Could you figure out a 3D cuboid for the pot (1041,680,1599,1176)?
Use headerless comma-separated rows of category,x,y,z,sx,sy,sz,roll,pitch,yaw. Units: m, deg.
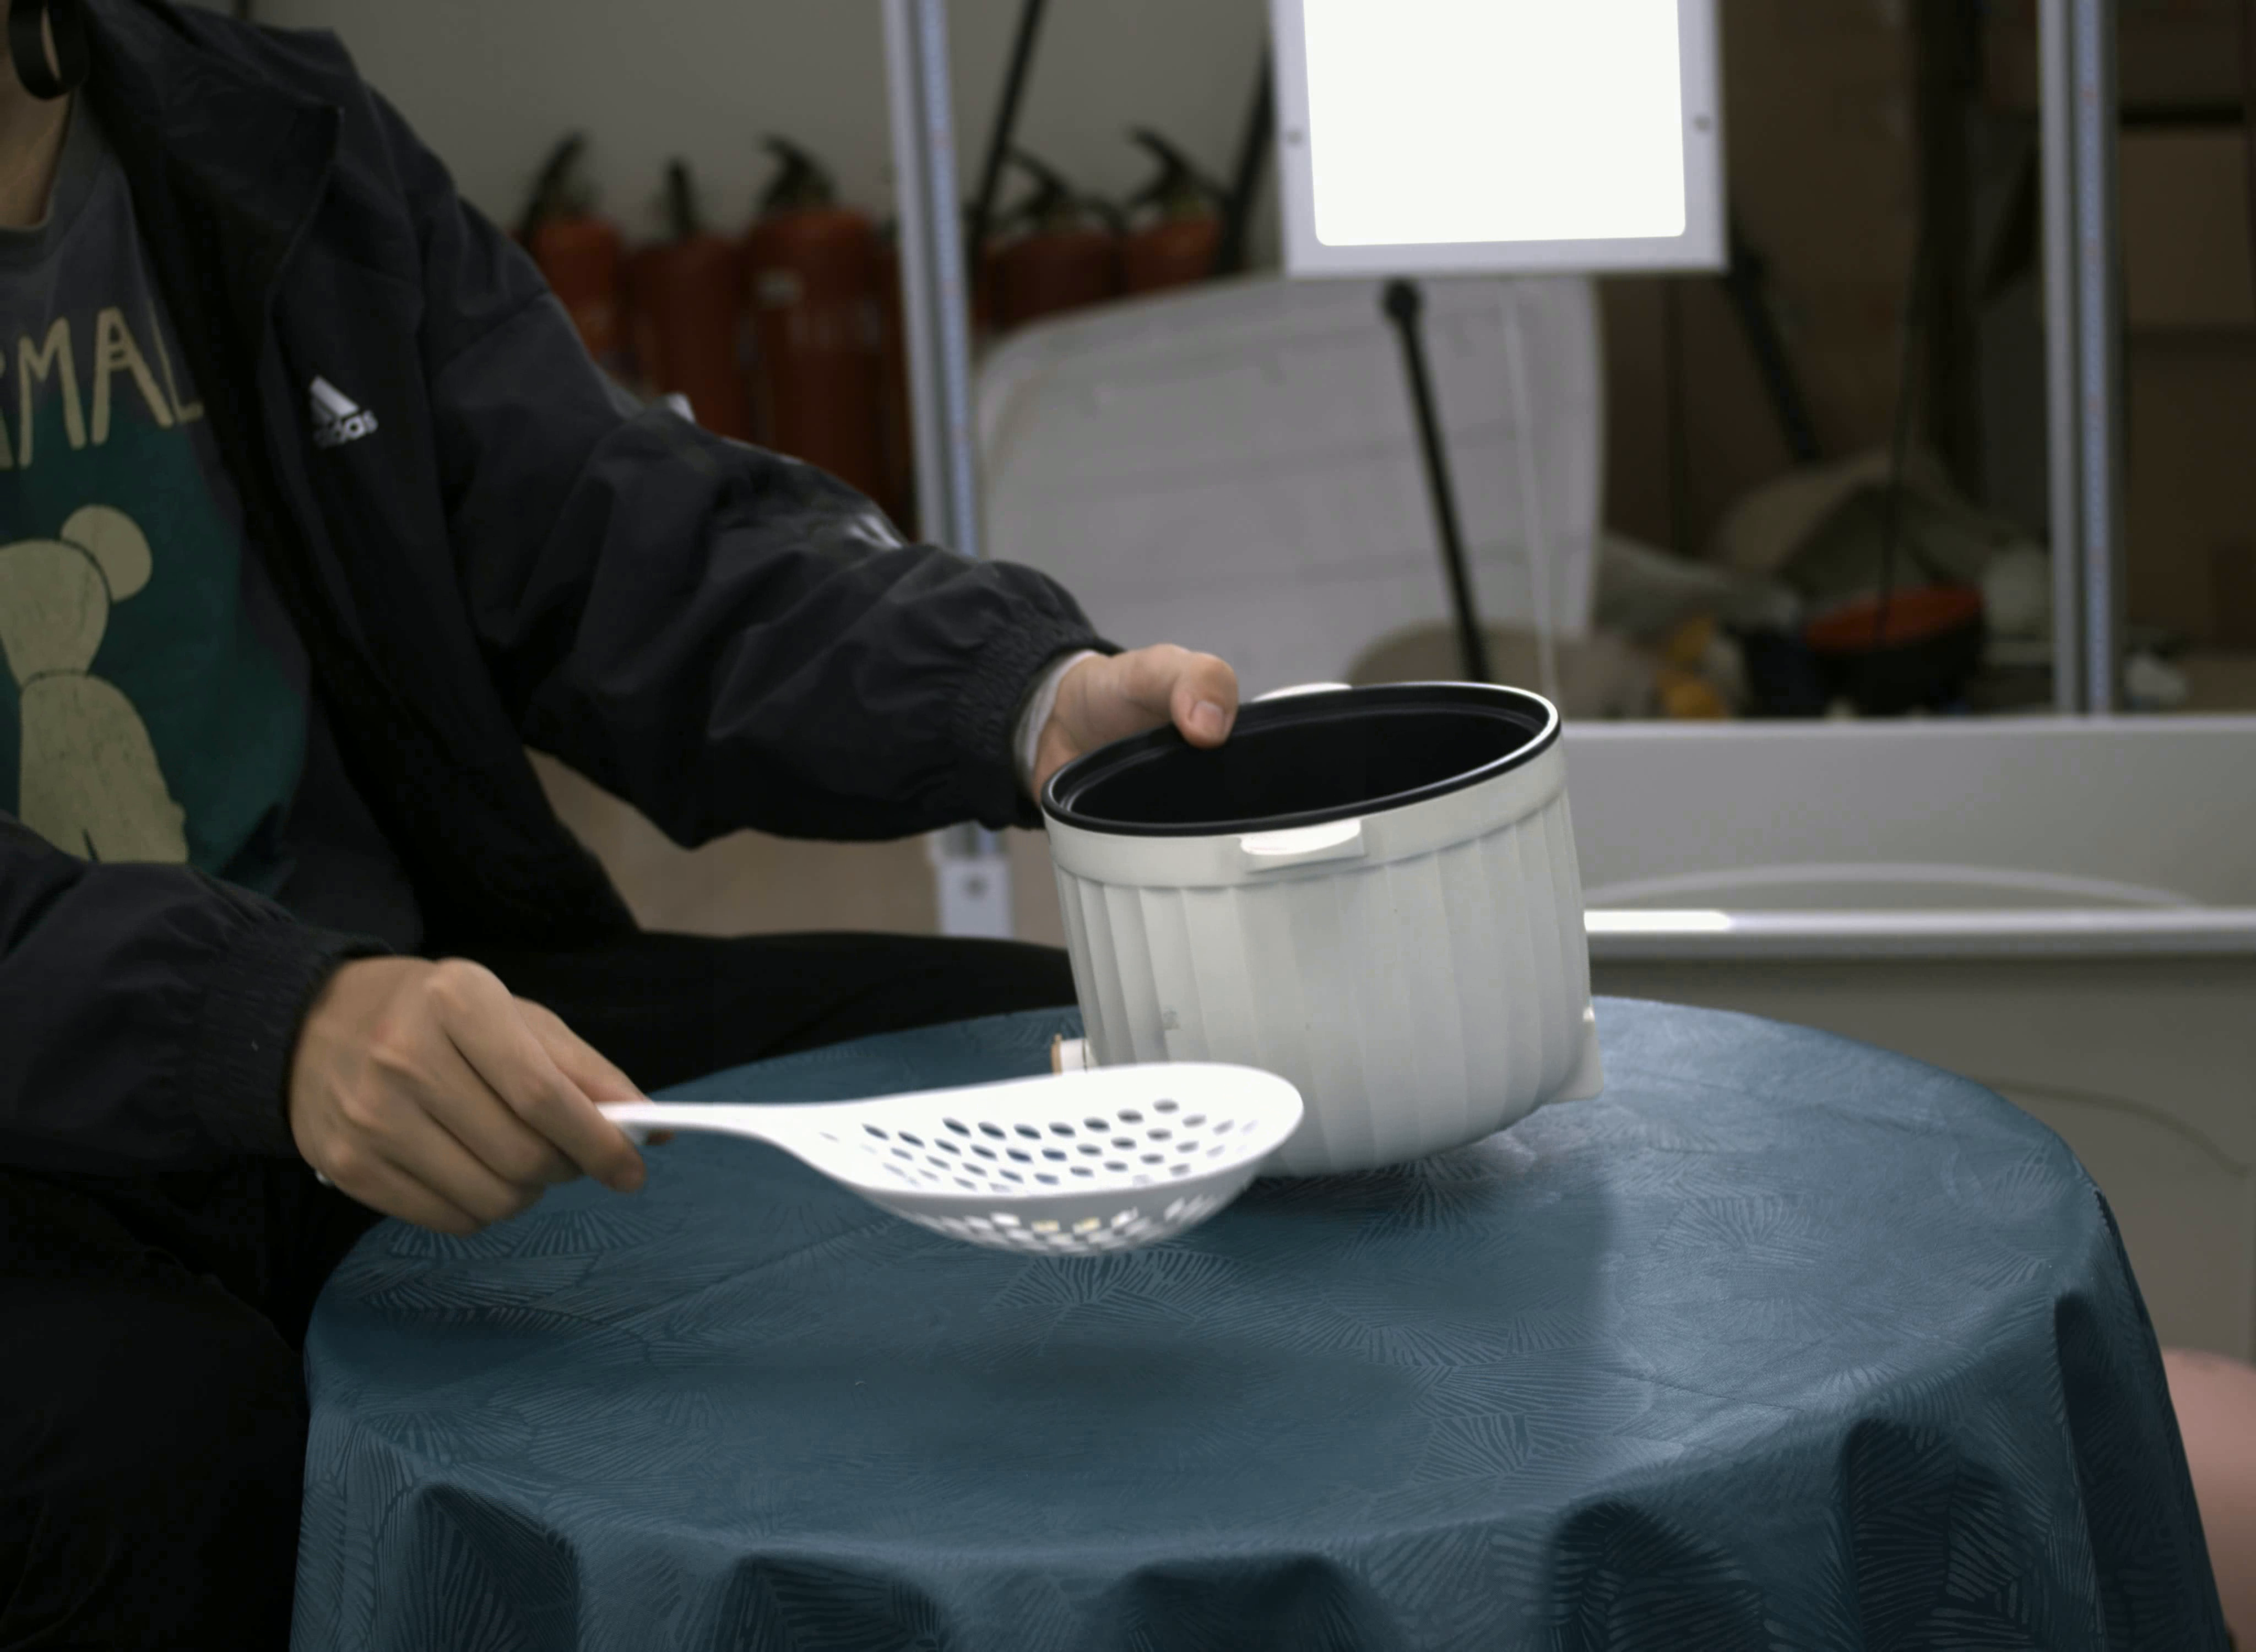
pot,0.063,0.038,1.898,0.191,0.143,0.239,-5,13,4

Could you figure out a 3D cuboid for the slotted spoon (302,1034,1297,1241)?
slotted spoon,-0.112,0.101,1.761,0.353,0.050,0.134,3,17,26
